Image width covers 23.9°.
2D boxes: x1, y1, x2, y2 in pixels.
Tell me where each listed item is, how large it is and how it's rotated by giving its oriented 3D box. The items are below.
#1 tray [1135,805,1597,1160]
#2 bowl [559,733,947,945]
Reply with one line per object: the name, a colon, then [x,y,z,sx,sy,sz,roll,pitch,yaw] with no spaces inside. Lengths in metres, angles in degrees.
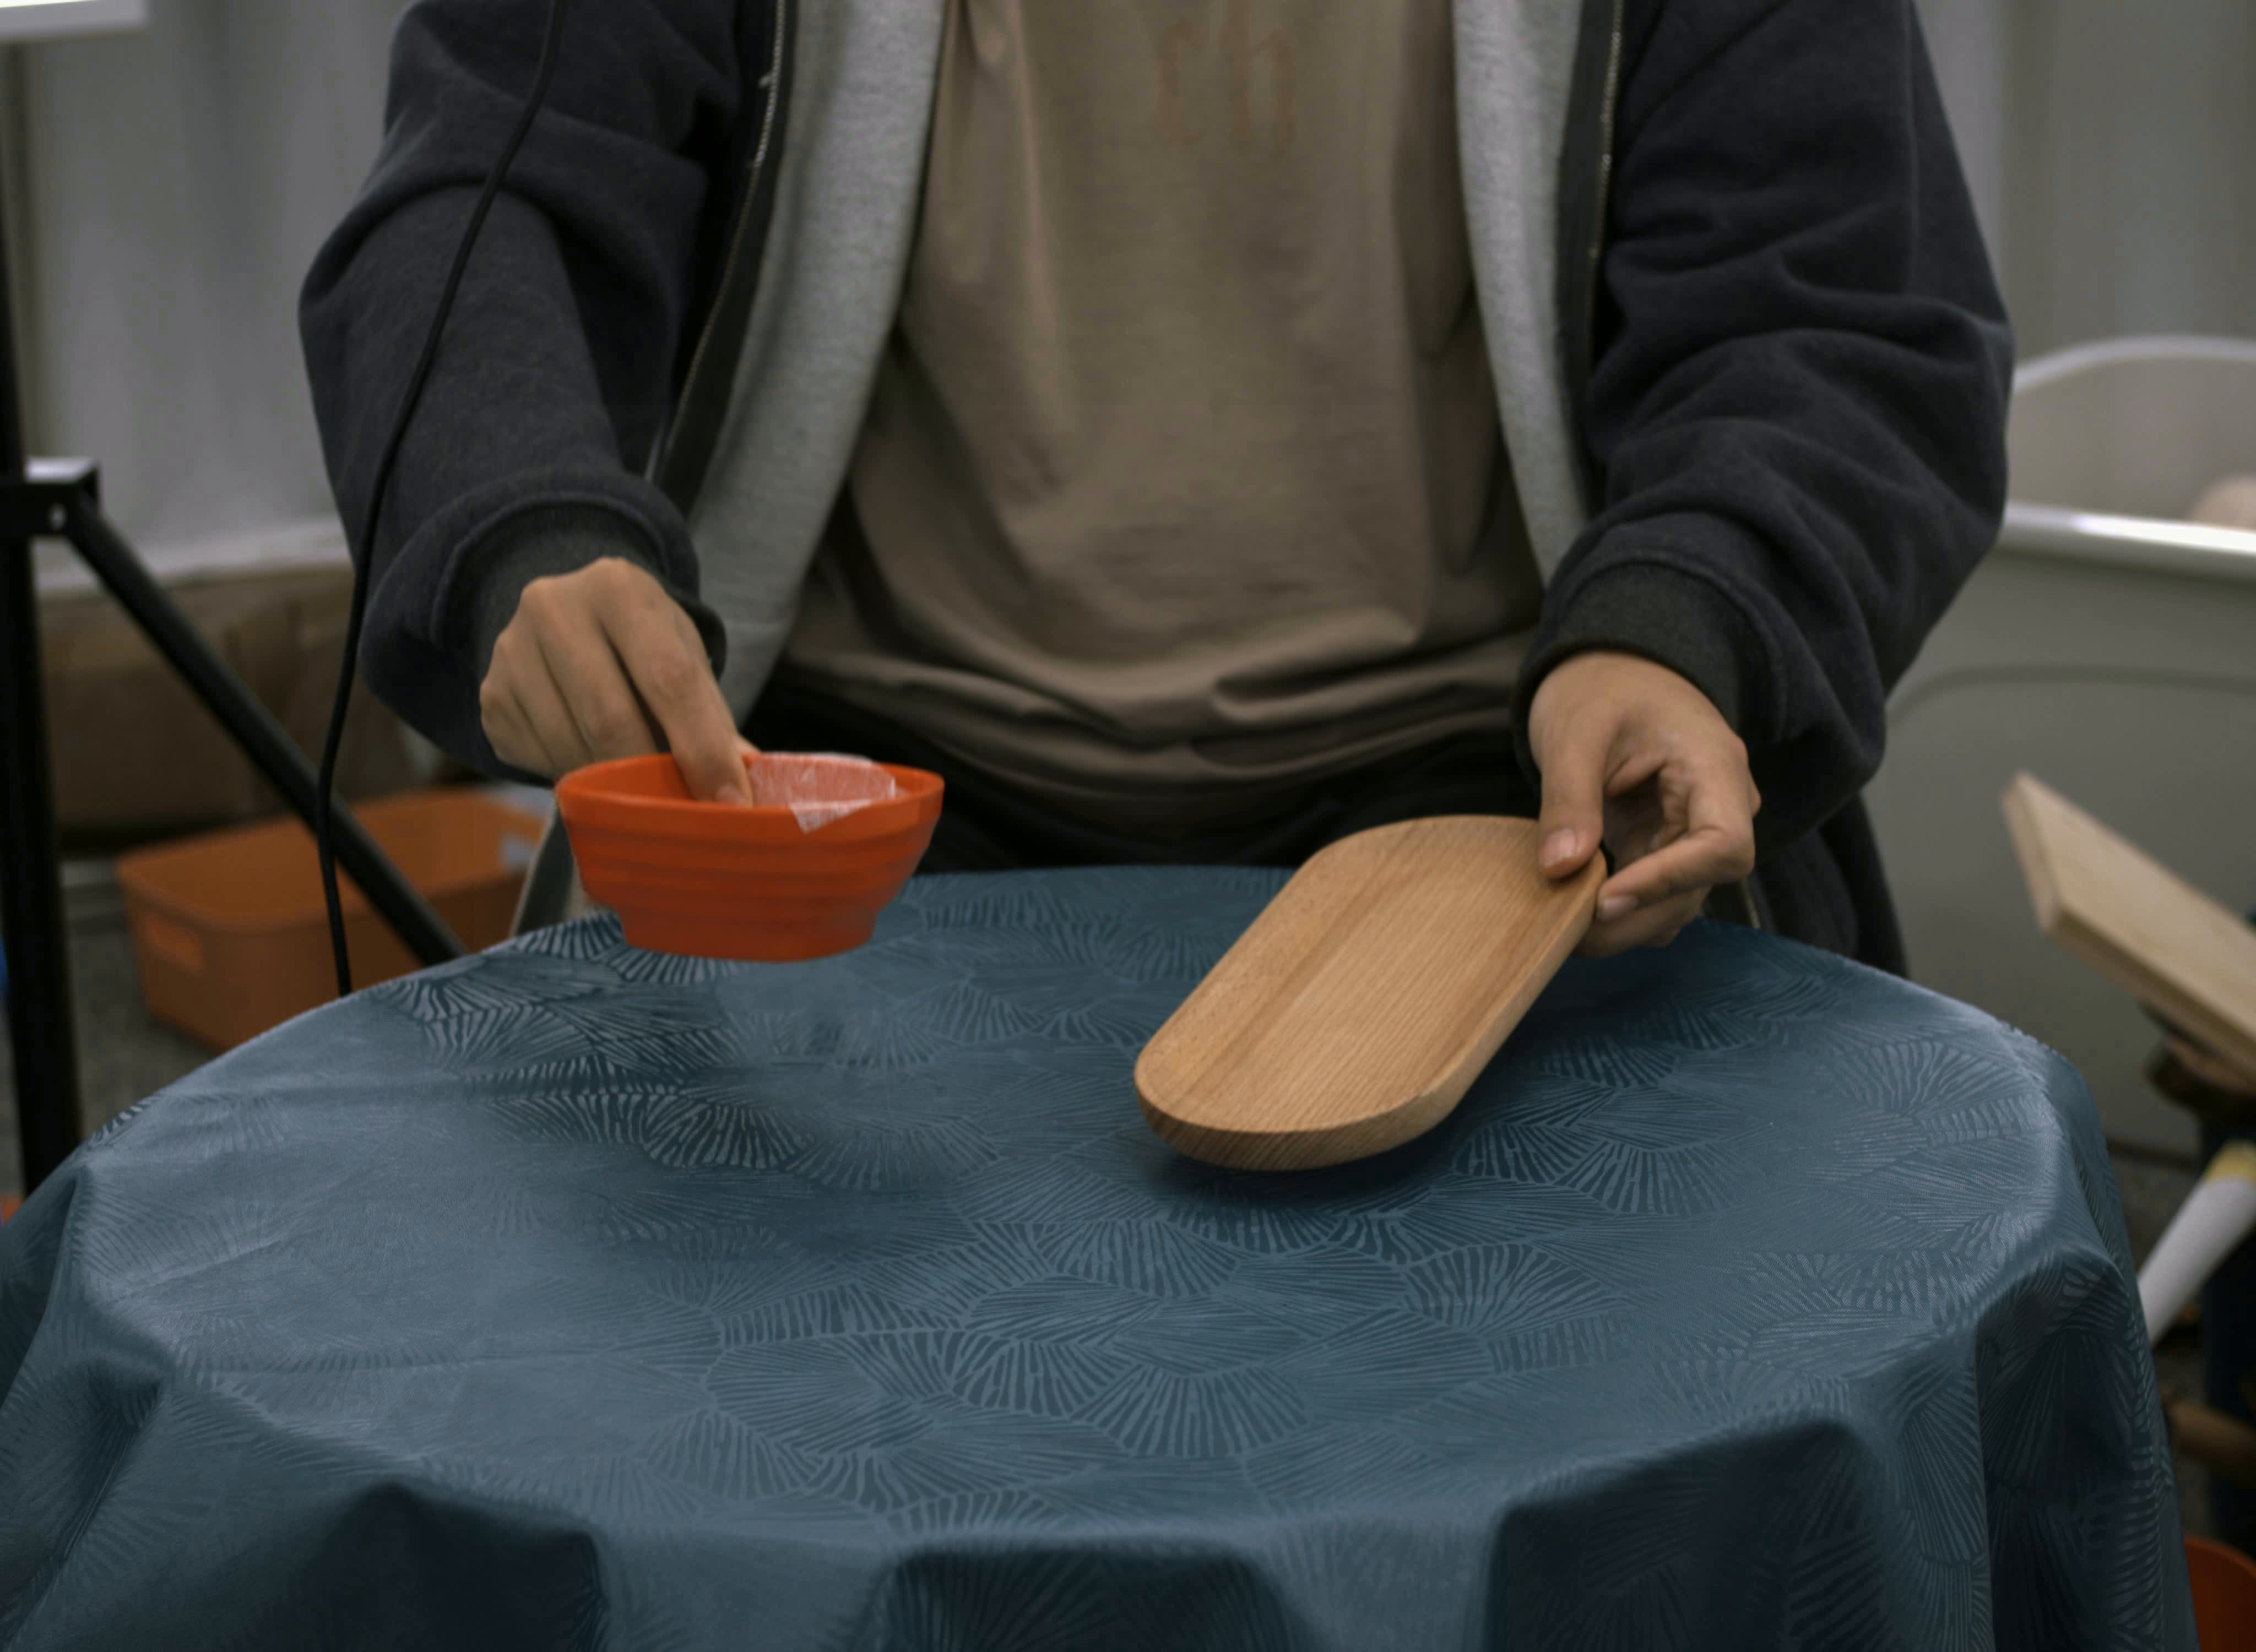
tray: [0.076,0.046,1.633,0.103,0.020,0.229,3,24,22]
bowl: [-0.112,0.005,1.604,0.118,0.051,0.119,0,9,-1]
